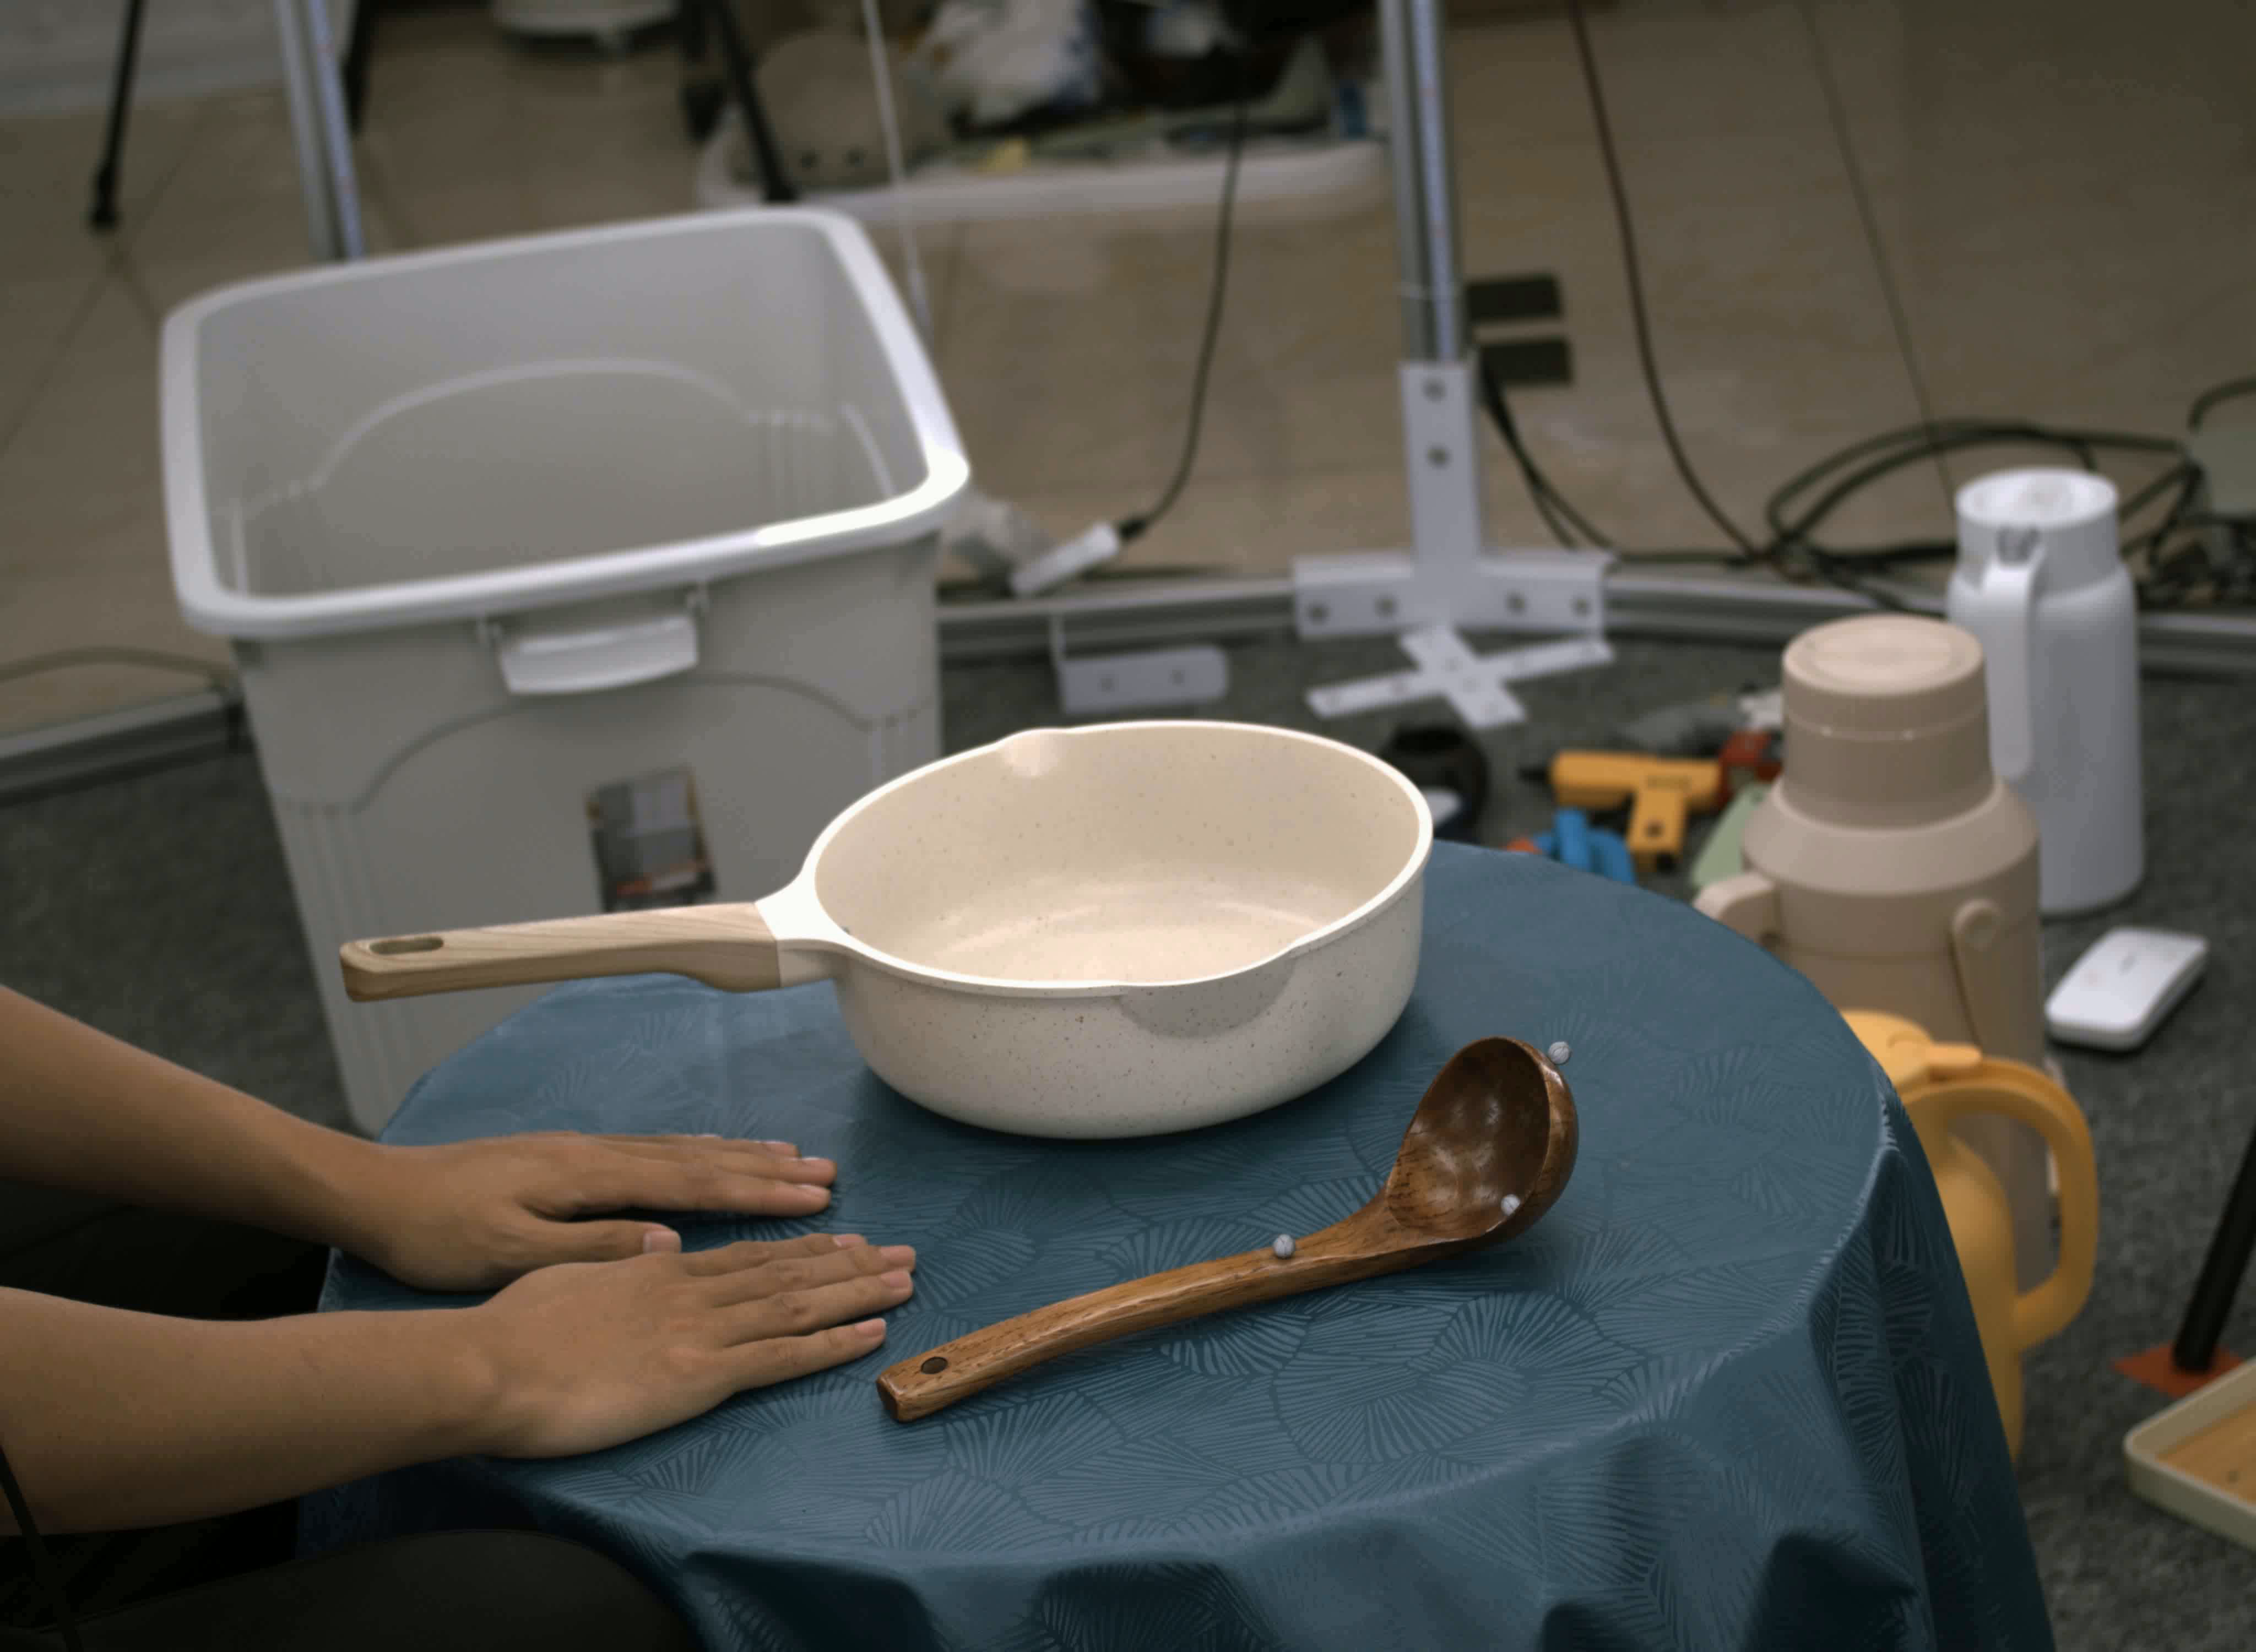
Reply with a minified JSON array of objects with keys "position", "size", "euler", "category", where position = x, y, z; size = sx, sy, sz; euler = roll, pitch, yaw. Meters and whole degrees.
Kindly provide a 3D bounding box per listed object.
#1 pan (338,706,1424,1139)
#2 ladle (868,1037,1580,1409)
[{"position":[-0.092,0.055,2.238],"size":[0.433,0.103,0.260],"euler":[-13,27,-13],"category":"pan"},{"position":[0.035,0.142,2.043],"size":[0.273,0.078,0.081],"euler":[-14,29,-17],"category":"ladle"}]
